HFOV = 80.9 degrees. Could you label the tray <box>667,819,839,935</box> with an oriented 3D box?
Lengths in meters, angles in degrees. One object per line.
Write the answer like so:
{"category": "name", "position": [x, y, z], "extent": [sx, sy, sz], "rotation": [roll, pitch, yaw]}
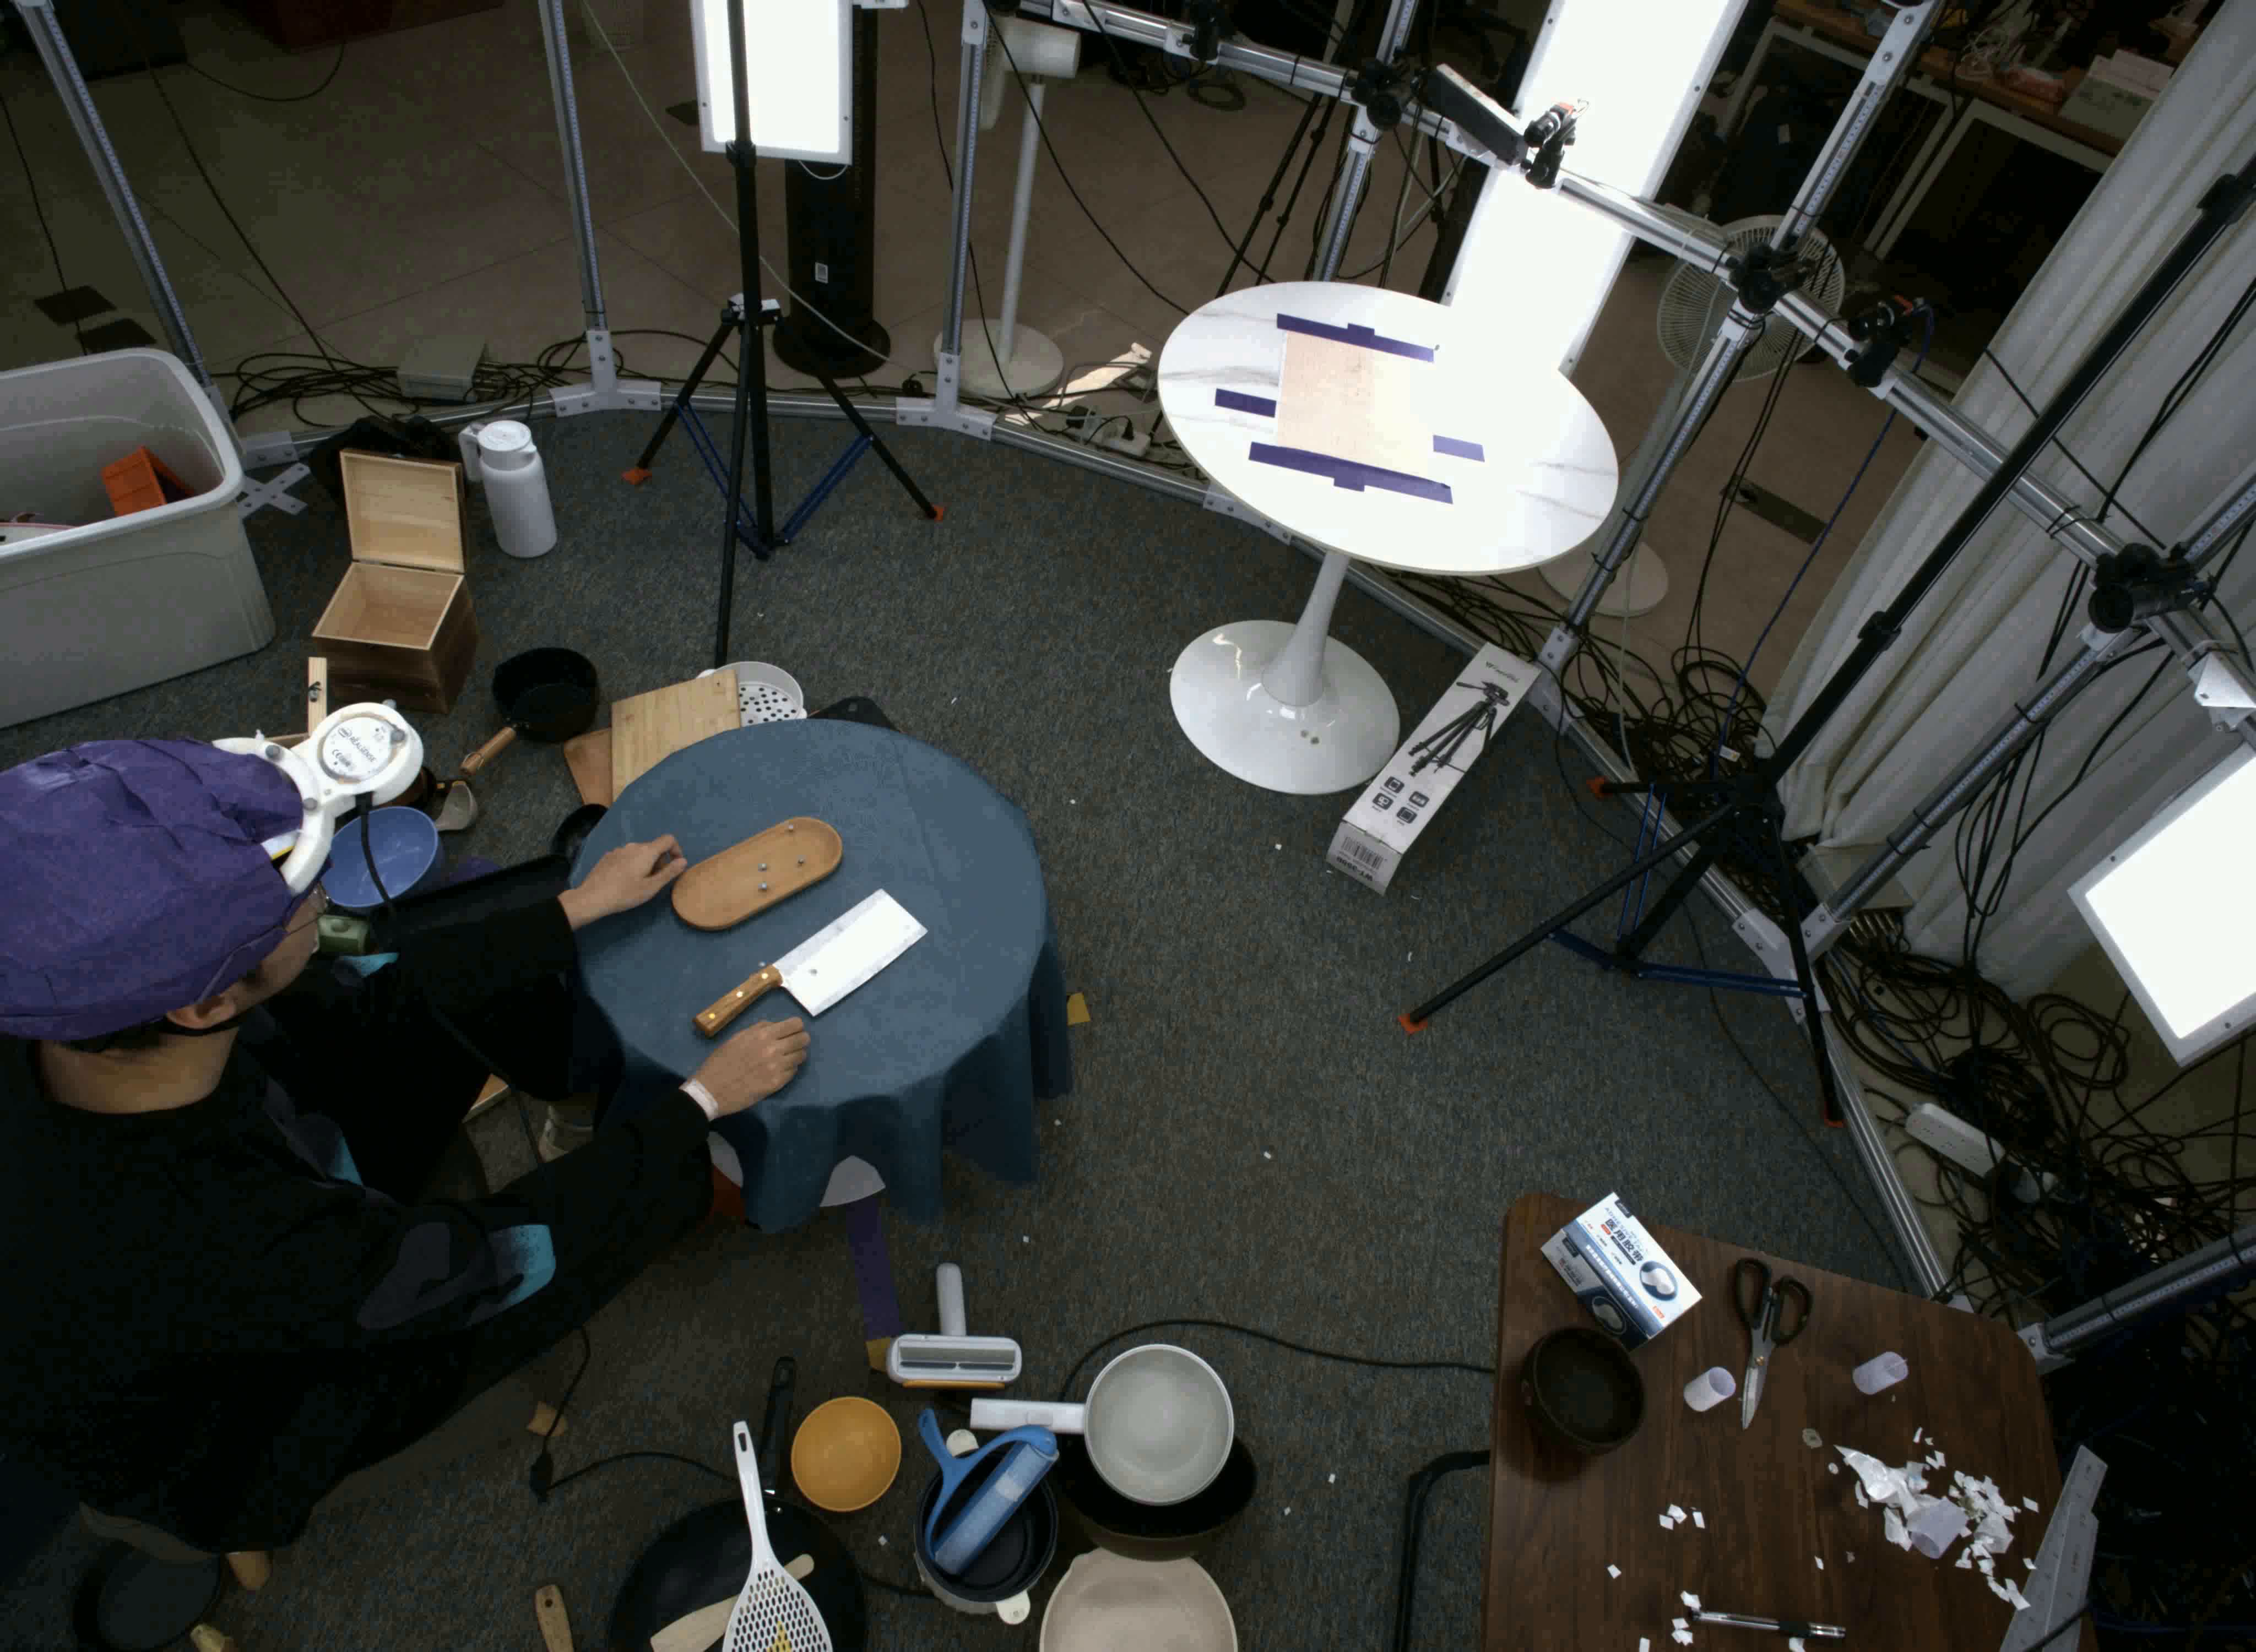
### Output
{"category": "tray", "position": [-0.474, 0.062, 1.643], "extent": [0.232, 0.021, 0.099], "rotation": [-31, 66, -31]}

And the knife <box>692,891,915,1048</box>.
{"category": "knife", "position": [-0.384, 0.181, 1.579], "extent": [0.091, 0.021, 0.306], "rotation": [41, 52, 14]}
